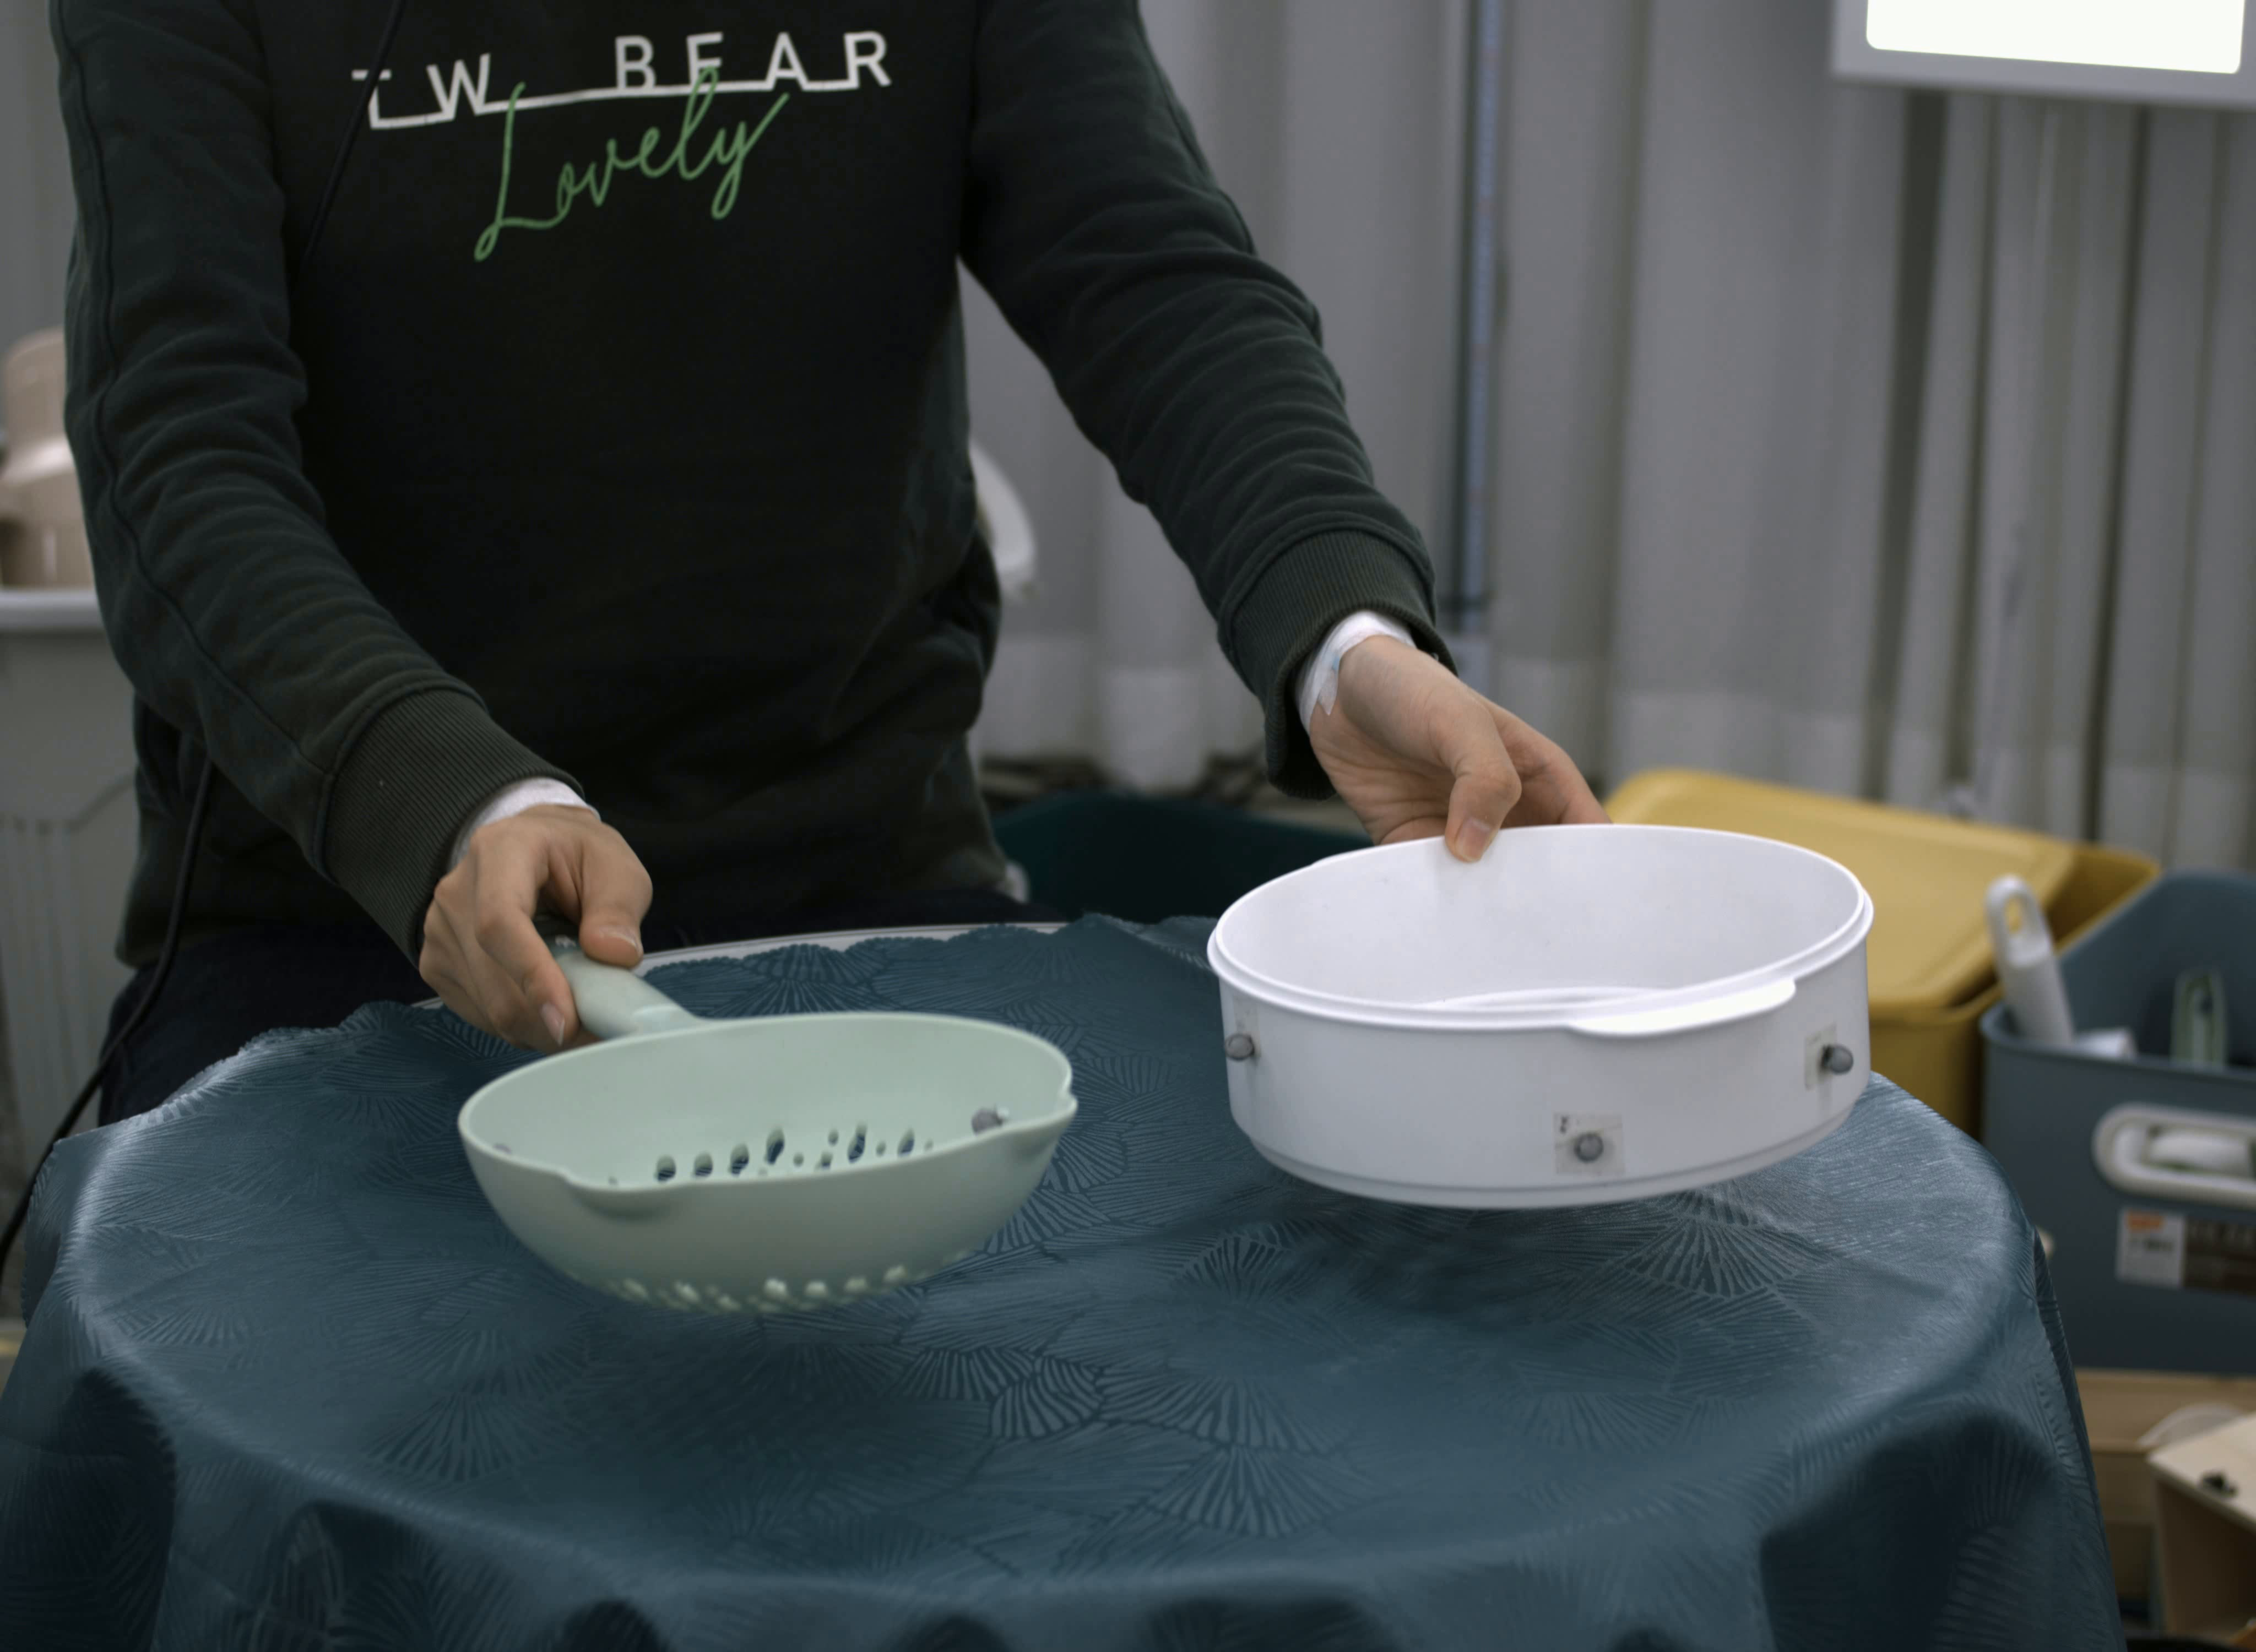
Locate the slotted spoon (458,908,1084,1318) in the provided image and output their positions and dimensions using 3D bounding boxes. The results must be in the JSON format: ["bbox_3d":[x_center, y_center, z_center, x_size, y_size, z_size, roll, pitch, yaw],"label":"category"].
[{"bbox_3d":[-0.132,0.066,1.530,0.170,0.076,0.354,-8,22,-20],"label":"slotted spoon"}]

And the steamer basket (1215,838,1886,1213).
[{"bbox_3d":[0.128,0.060,1.588,0.202,0.070,0.228,-9,15,-21],"label":"steamer basket"}]
